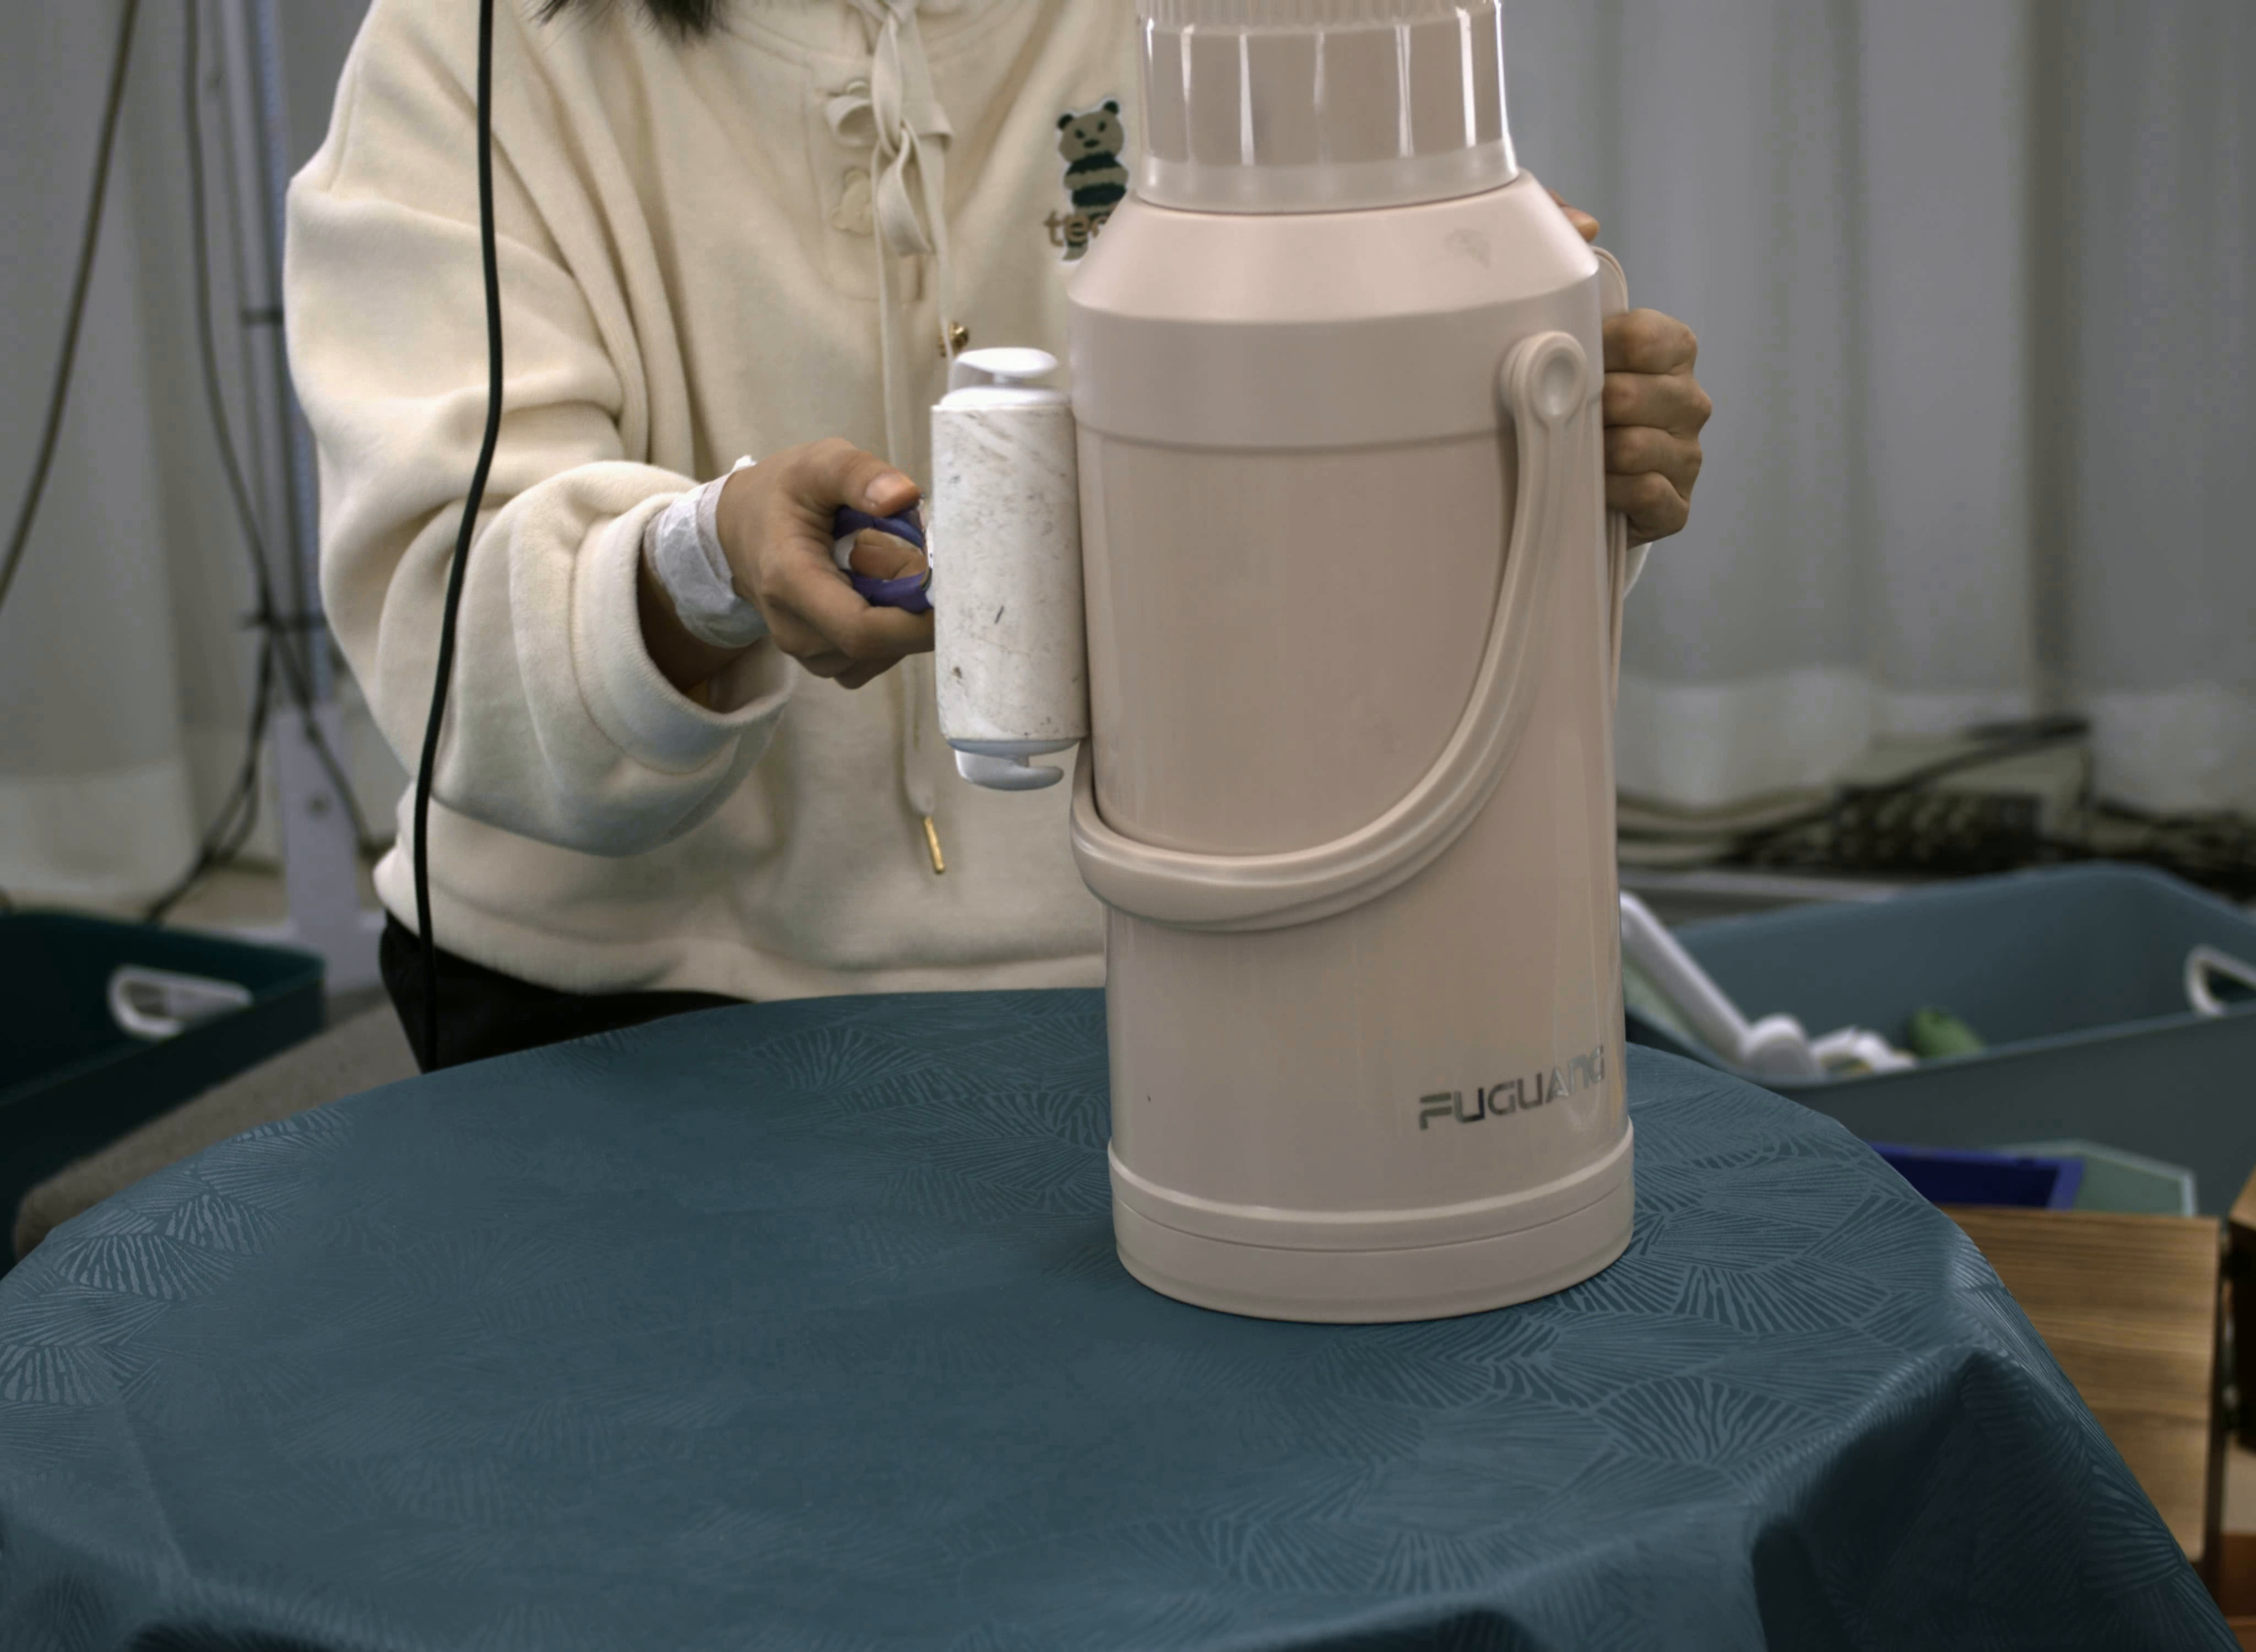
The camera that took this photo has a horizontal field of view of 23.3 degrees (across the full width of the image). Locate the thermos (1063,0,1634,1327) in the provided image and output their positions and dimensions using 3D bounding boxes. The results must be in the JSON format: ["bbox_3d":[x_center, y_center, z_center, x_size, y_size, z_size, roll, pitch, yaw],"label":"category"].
[{"bbox_3d":[0.075,-0.069,1.624,0.206,0.405,0.176,-14,17,-42],"label":"thermos"}]

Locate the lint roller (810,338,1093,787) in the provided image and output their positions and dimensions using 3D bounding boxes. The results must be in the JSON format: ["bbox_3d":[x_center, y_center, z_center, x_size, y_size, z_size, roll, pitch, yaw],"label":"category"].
[{"bbox_3d":[-0.068,-0.085,1.683,0.050,0.133,0.182,-5,8,-32],"label":"lint roller"}]
